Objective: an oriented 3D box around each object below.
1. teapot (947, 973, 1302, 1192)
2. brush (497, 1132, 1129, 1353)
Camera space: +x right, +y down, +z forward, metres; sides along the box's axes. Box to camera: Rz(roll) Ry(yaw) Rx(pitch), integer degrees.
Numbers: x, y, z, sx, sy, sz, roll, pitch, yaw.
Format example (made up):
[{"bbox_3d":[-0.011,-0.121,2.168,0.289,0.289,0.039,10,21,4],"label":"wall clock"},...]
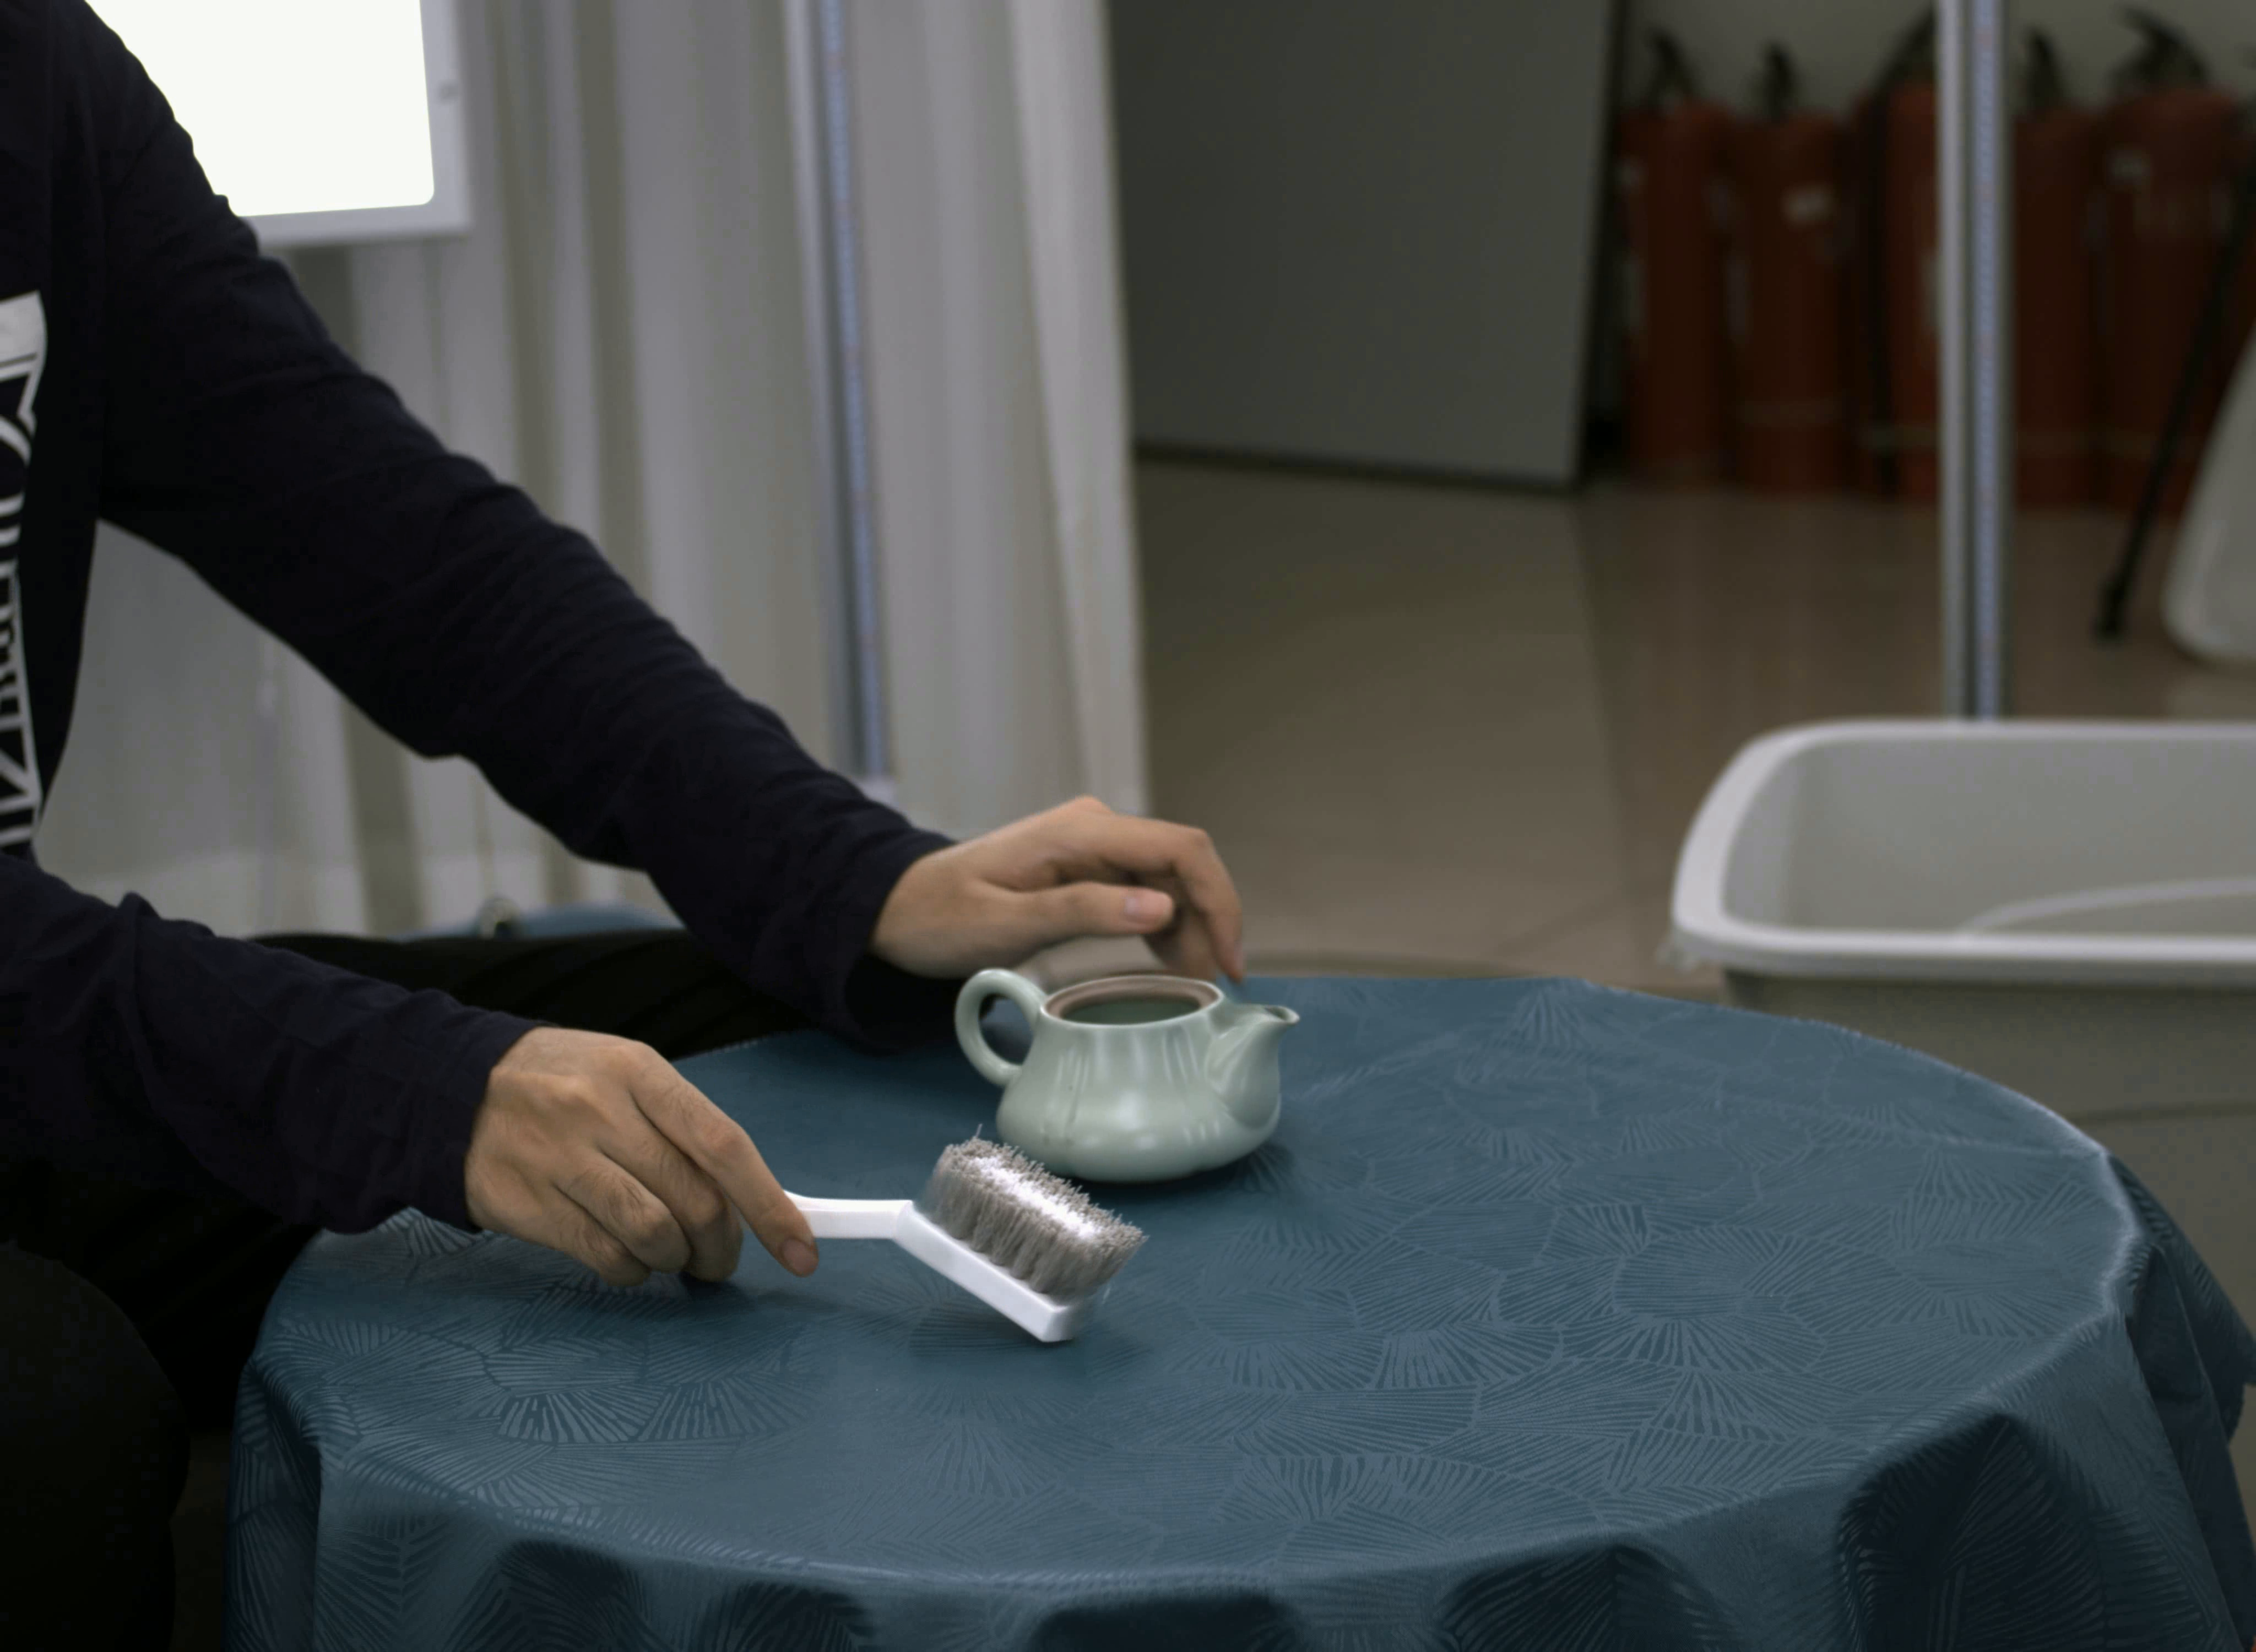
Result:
[{"bbox_3d":[-0.001,0.084,1.801,0.137,0.062,0.095,5,19,31],"label":"teapot"},{"bbox_3d":[-0.104,0.111,1.692,0.245,0.051,0.034,15,20,35],"label":"brush"}]
